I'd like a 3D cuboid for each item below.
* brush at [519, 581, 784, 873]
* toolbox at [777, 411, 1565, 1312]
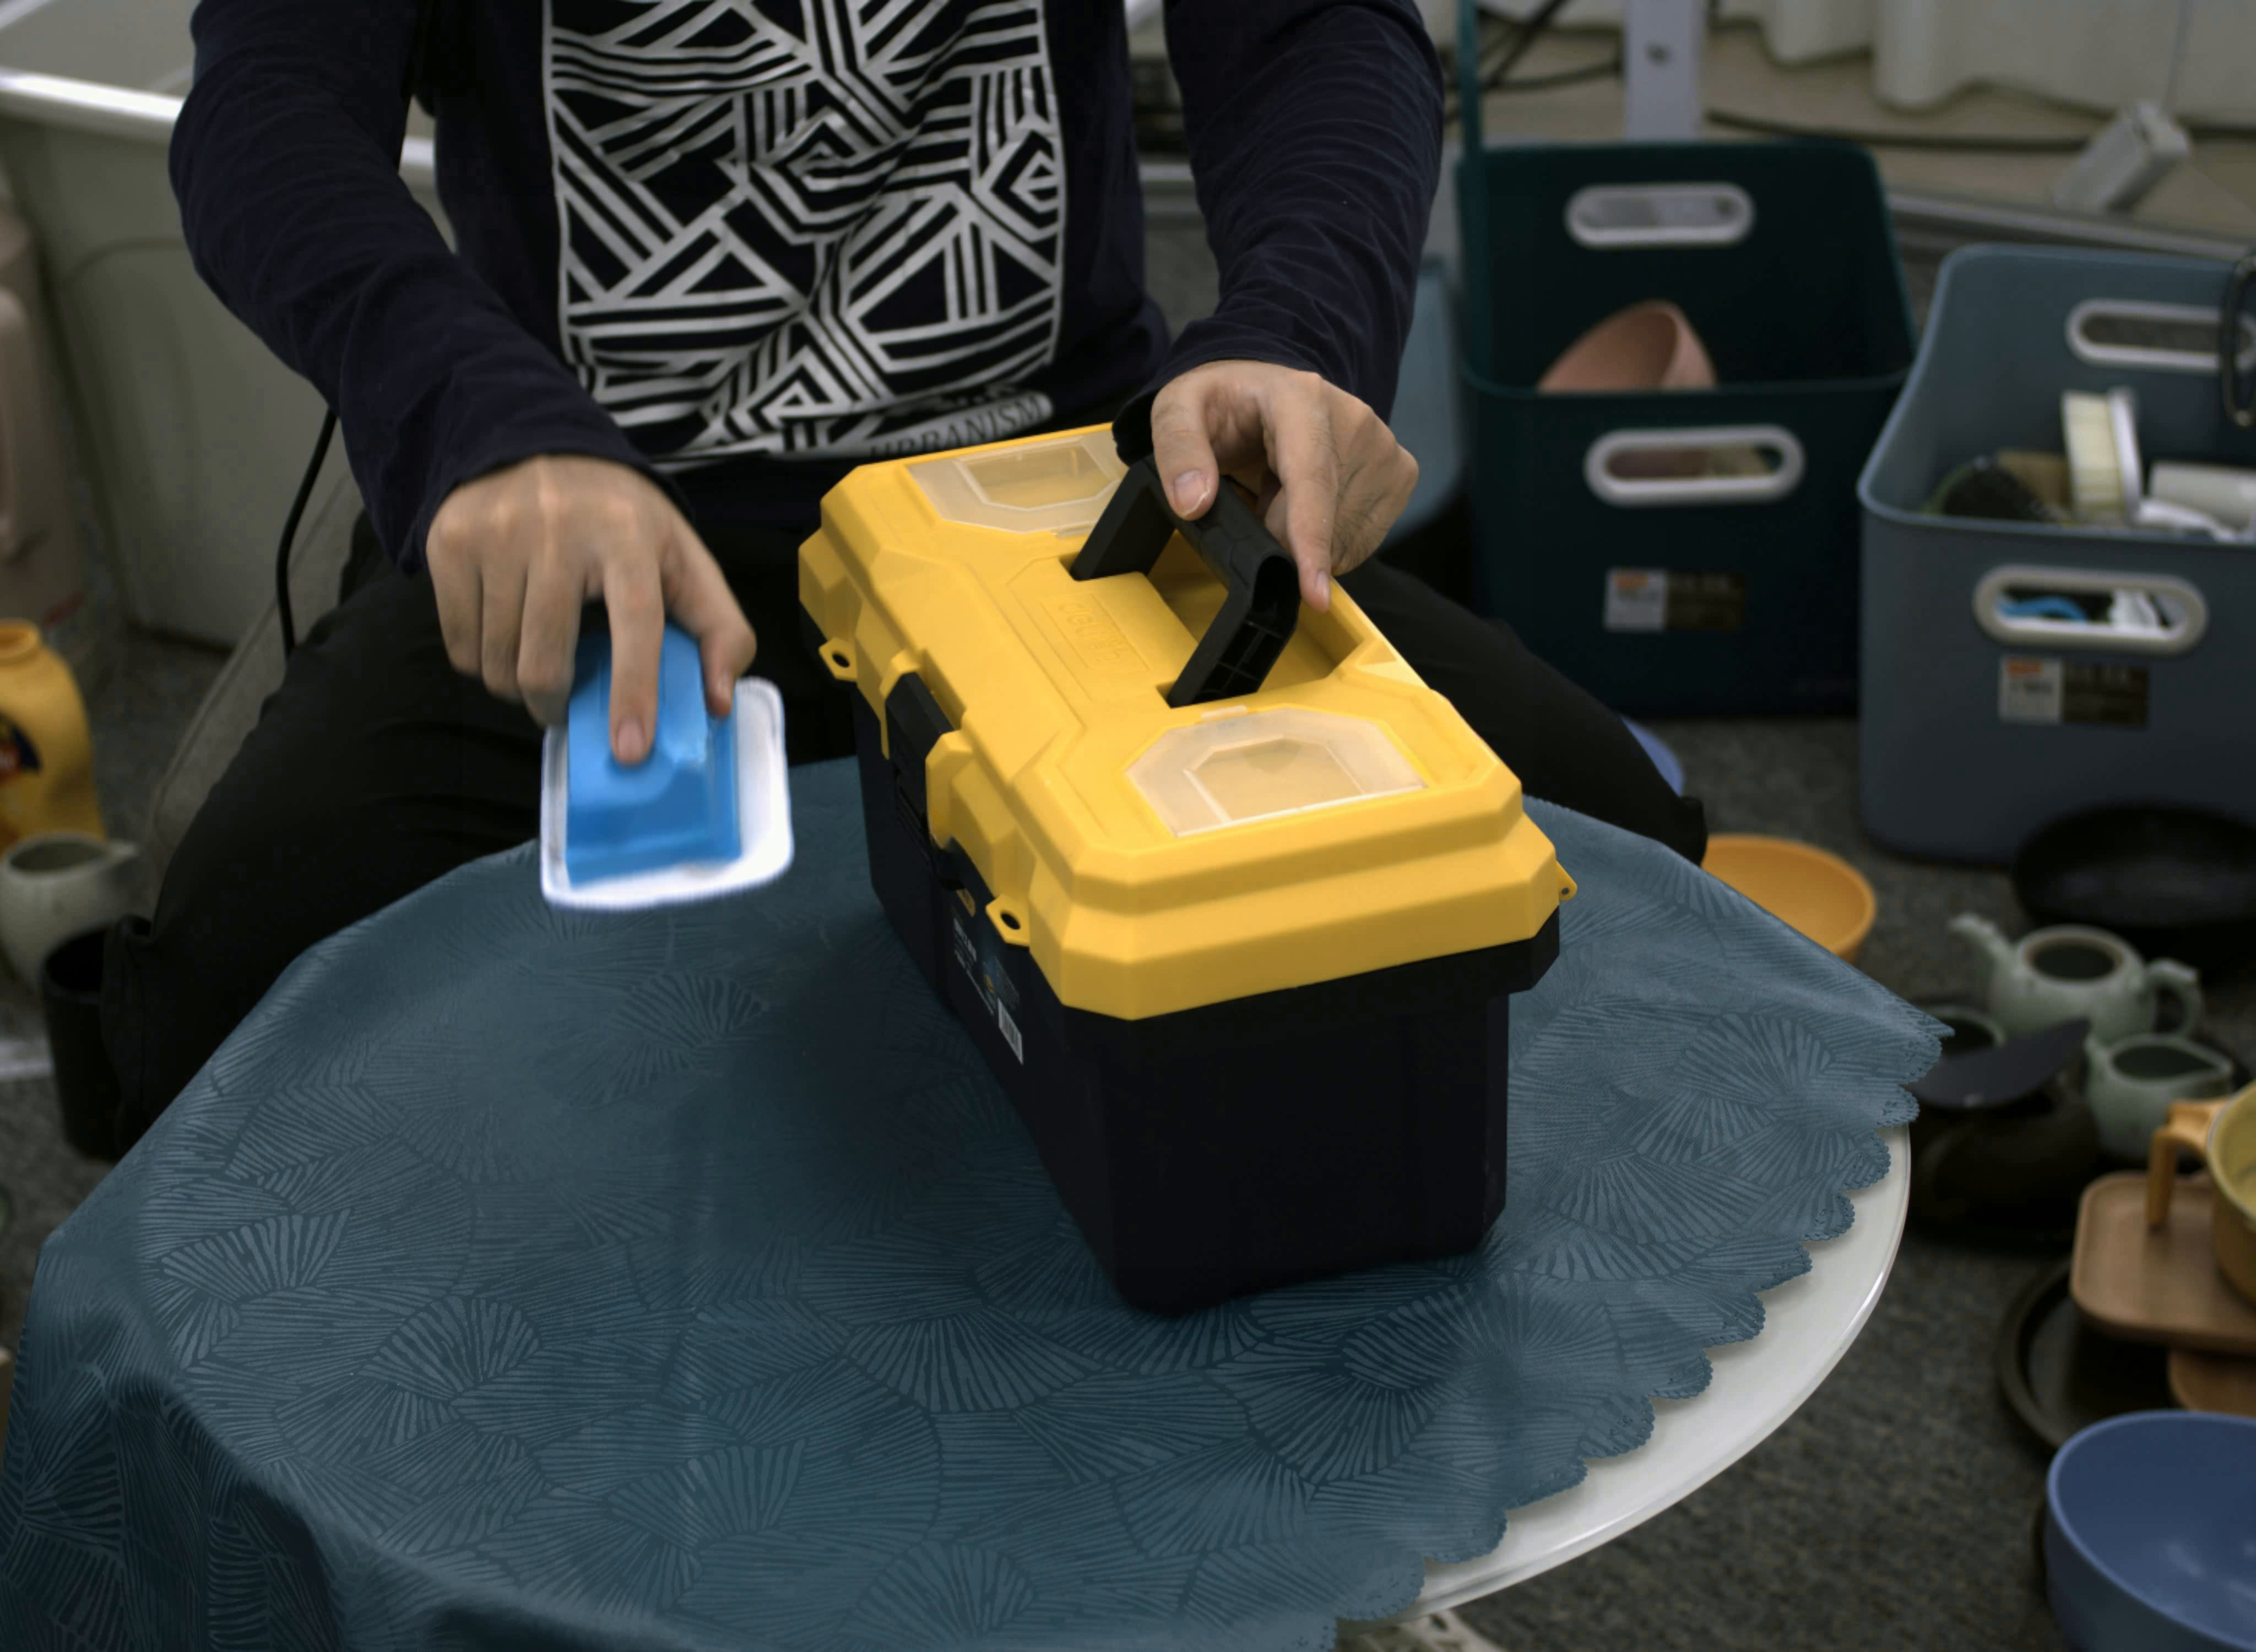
[{"bbox_3d":[-0.154,-0.036,1.808,0.083,0.055,0.146,-5,29,0],"label":"brush"},{"bbox_3d":[0.009,0.005,1.896,0.181,0.171,0.355,-10,28,-15],"label":"toolbox"}]
